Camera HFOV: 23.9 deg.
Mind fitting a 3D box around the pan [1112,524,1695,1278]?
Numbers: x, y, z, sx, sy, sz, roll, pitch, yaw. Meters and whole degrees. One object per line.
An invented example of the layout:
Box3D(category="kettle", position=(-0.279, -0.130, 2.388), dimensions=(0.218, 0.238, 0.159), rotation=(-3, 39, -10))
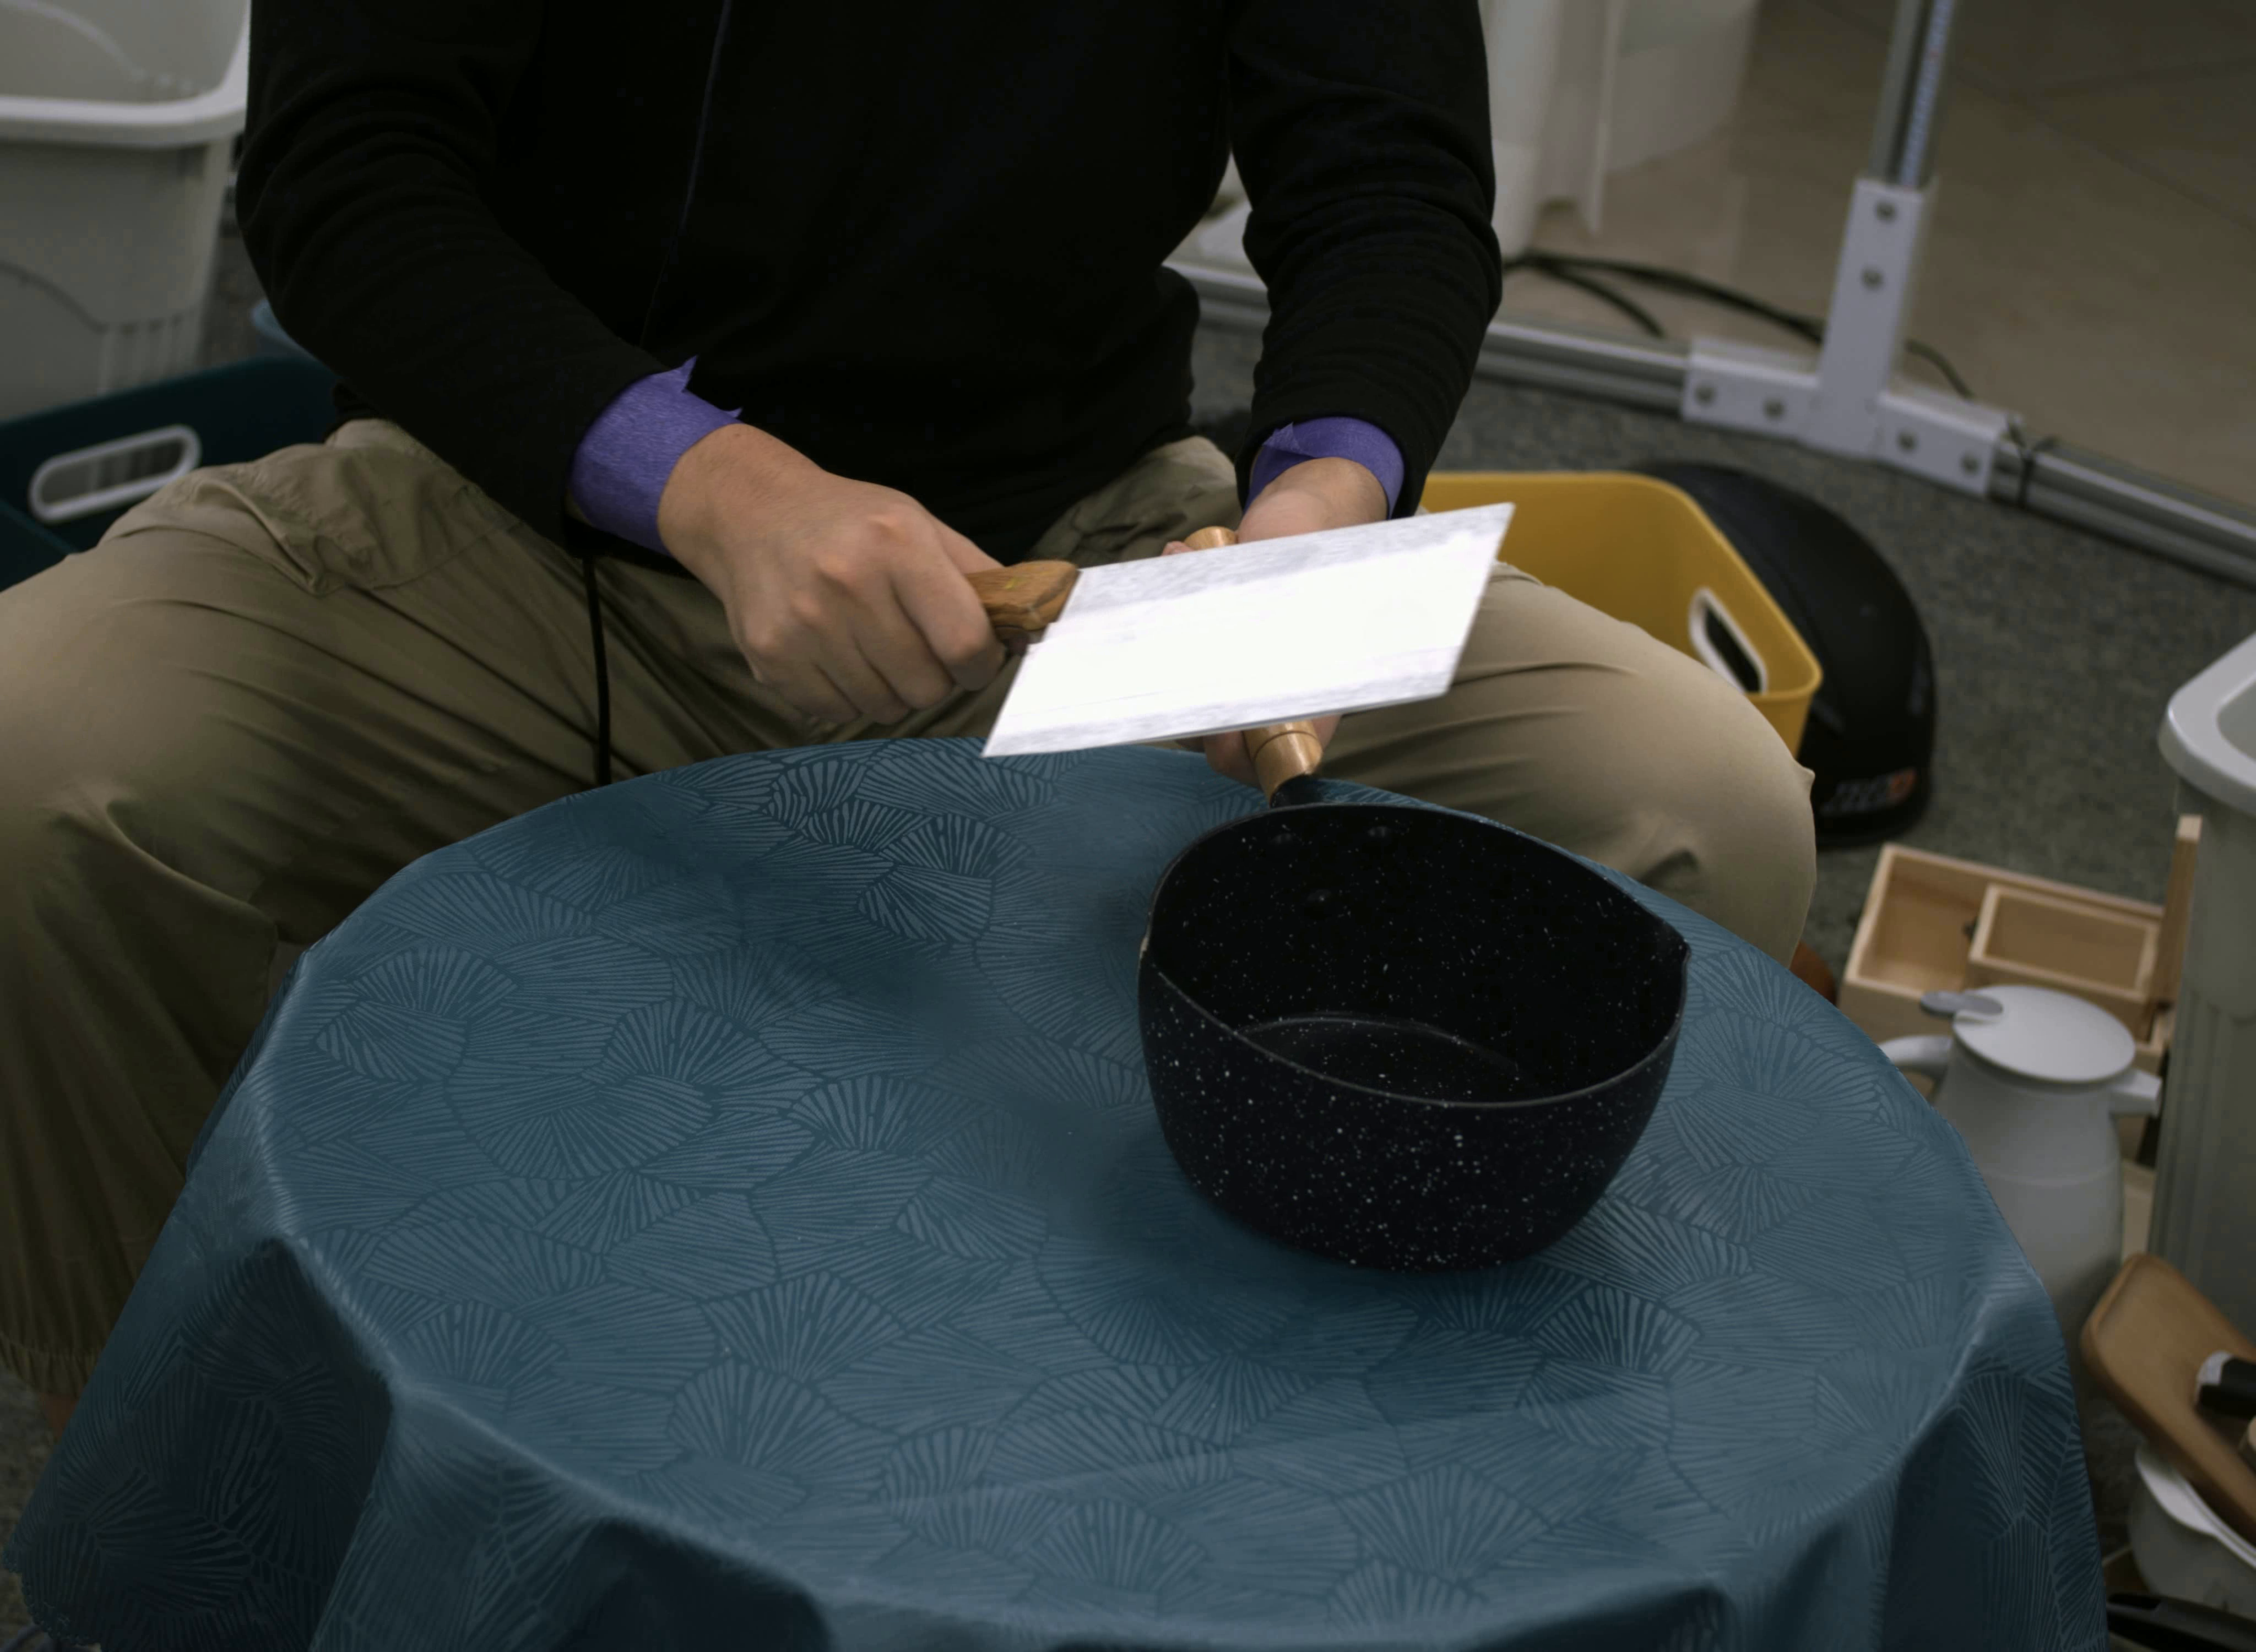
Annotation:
Box3D(category="pan", position=(0.069, 0.024, 1.873), dimensions=(0.206, 0.108, 0.346), rotation=(-3, 34, -19))

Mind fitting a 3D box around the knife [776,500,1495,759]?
Box3D(category="knife", position=(-0.009, -0.063, 1.865), dimensions=(0.307, 0.021, 0.093), rotation=(-7, 45, 35))
